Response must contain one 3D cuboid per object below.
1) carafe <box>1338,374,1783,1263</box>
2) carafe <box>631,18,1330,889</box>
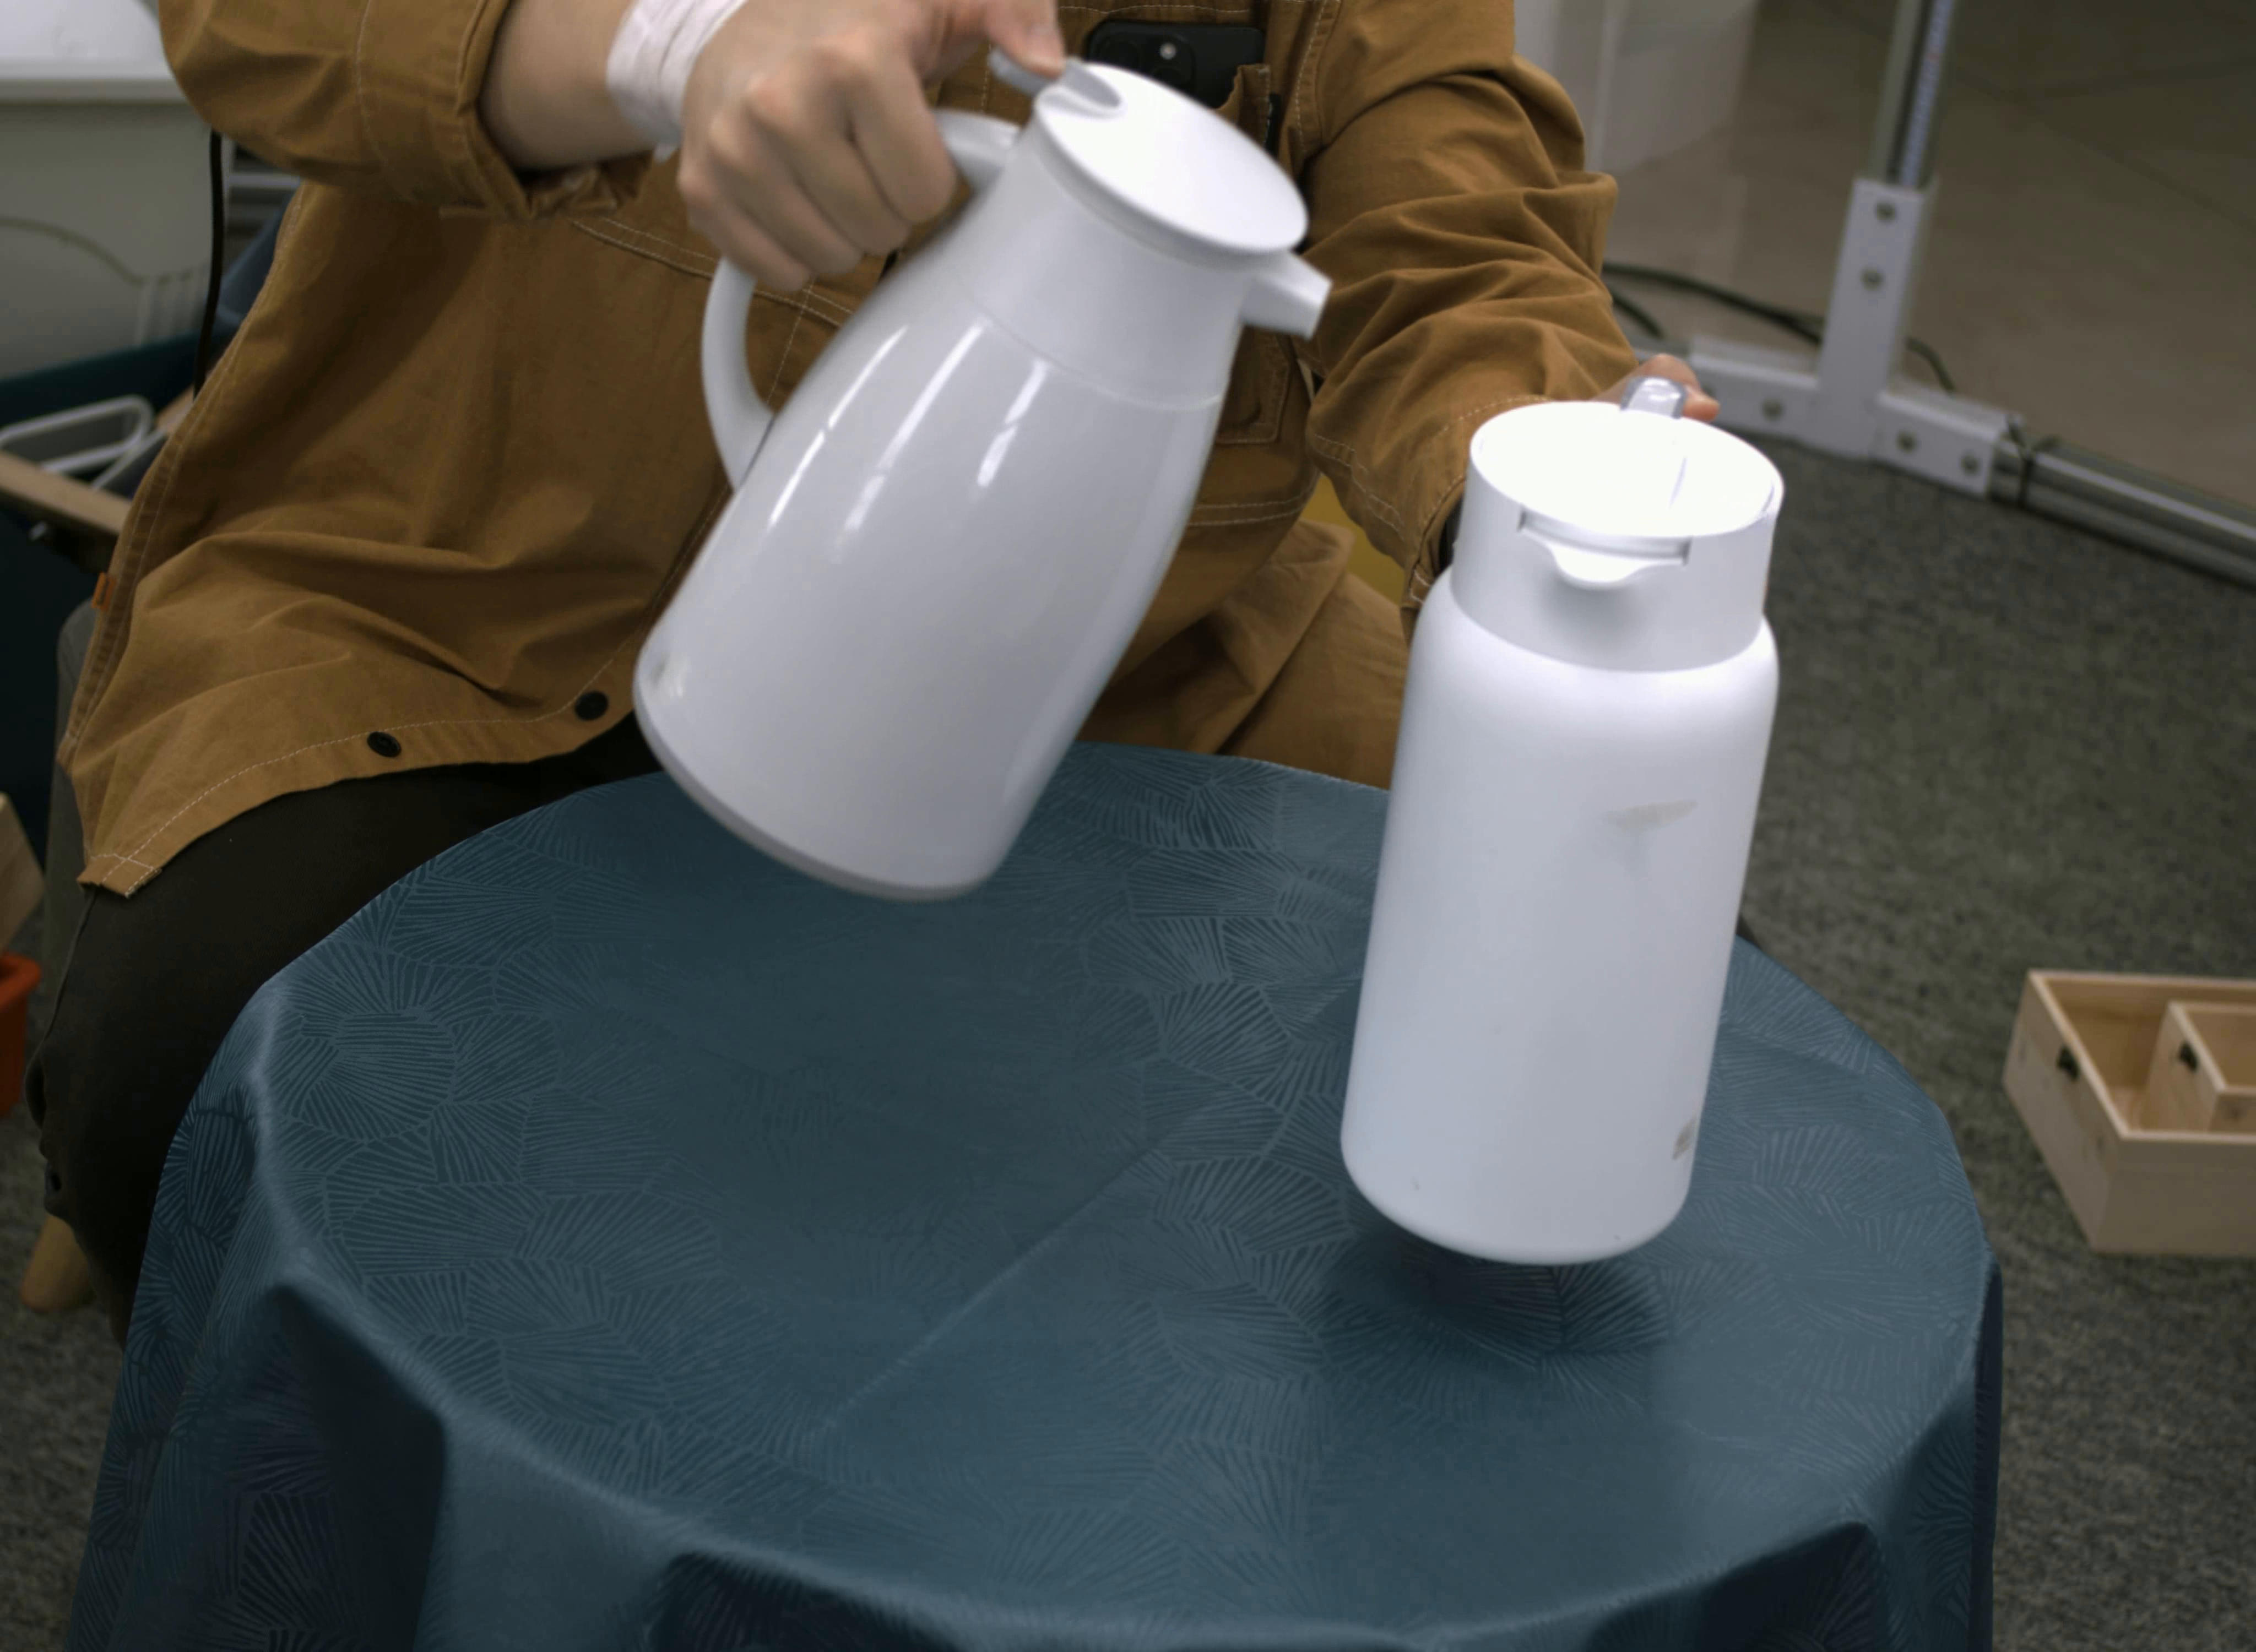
[{"bbox_3d":[0.142,-0.006,1.725,0.124,0.268,0.173,9,27,10],"label":"carafe"},{"bbox_3d":[-0.058,-0.125,1.625,0.167,0.248,0.133,29,28,-4],"label":"carafe"}]
